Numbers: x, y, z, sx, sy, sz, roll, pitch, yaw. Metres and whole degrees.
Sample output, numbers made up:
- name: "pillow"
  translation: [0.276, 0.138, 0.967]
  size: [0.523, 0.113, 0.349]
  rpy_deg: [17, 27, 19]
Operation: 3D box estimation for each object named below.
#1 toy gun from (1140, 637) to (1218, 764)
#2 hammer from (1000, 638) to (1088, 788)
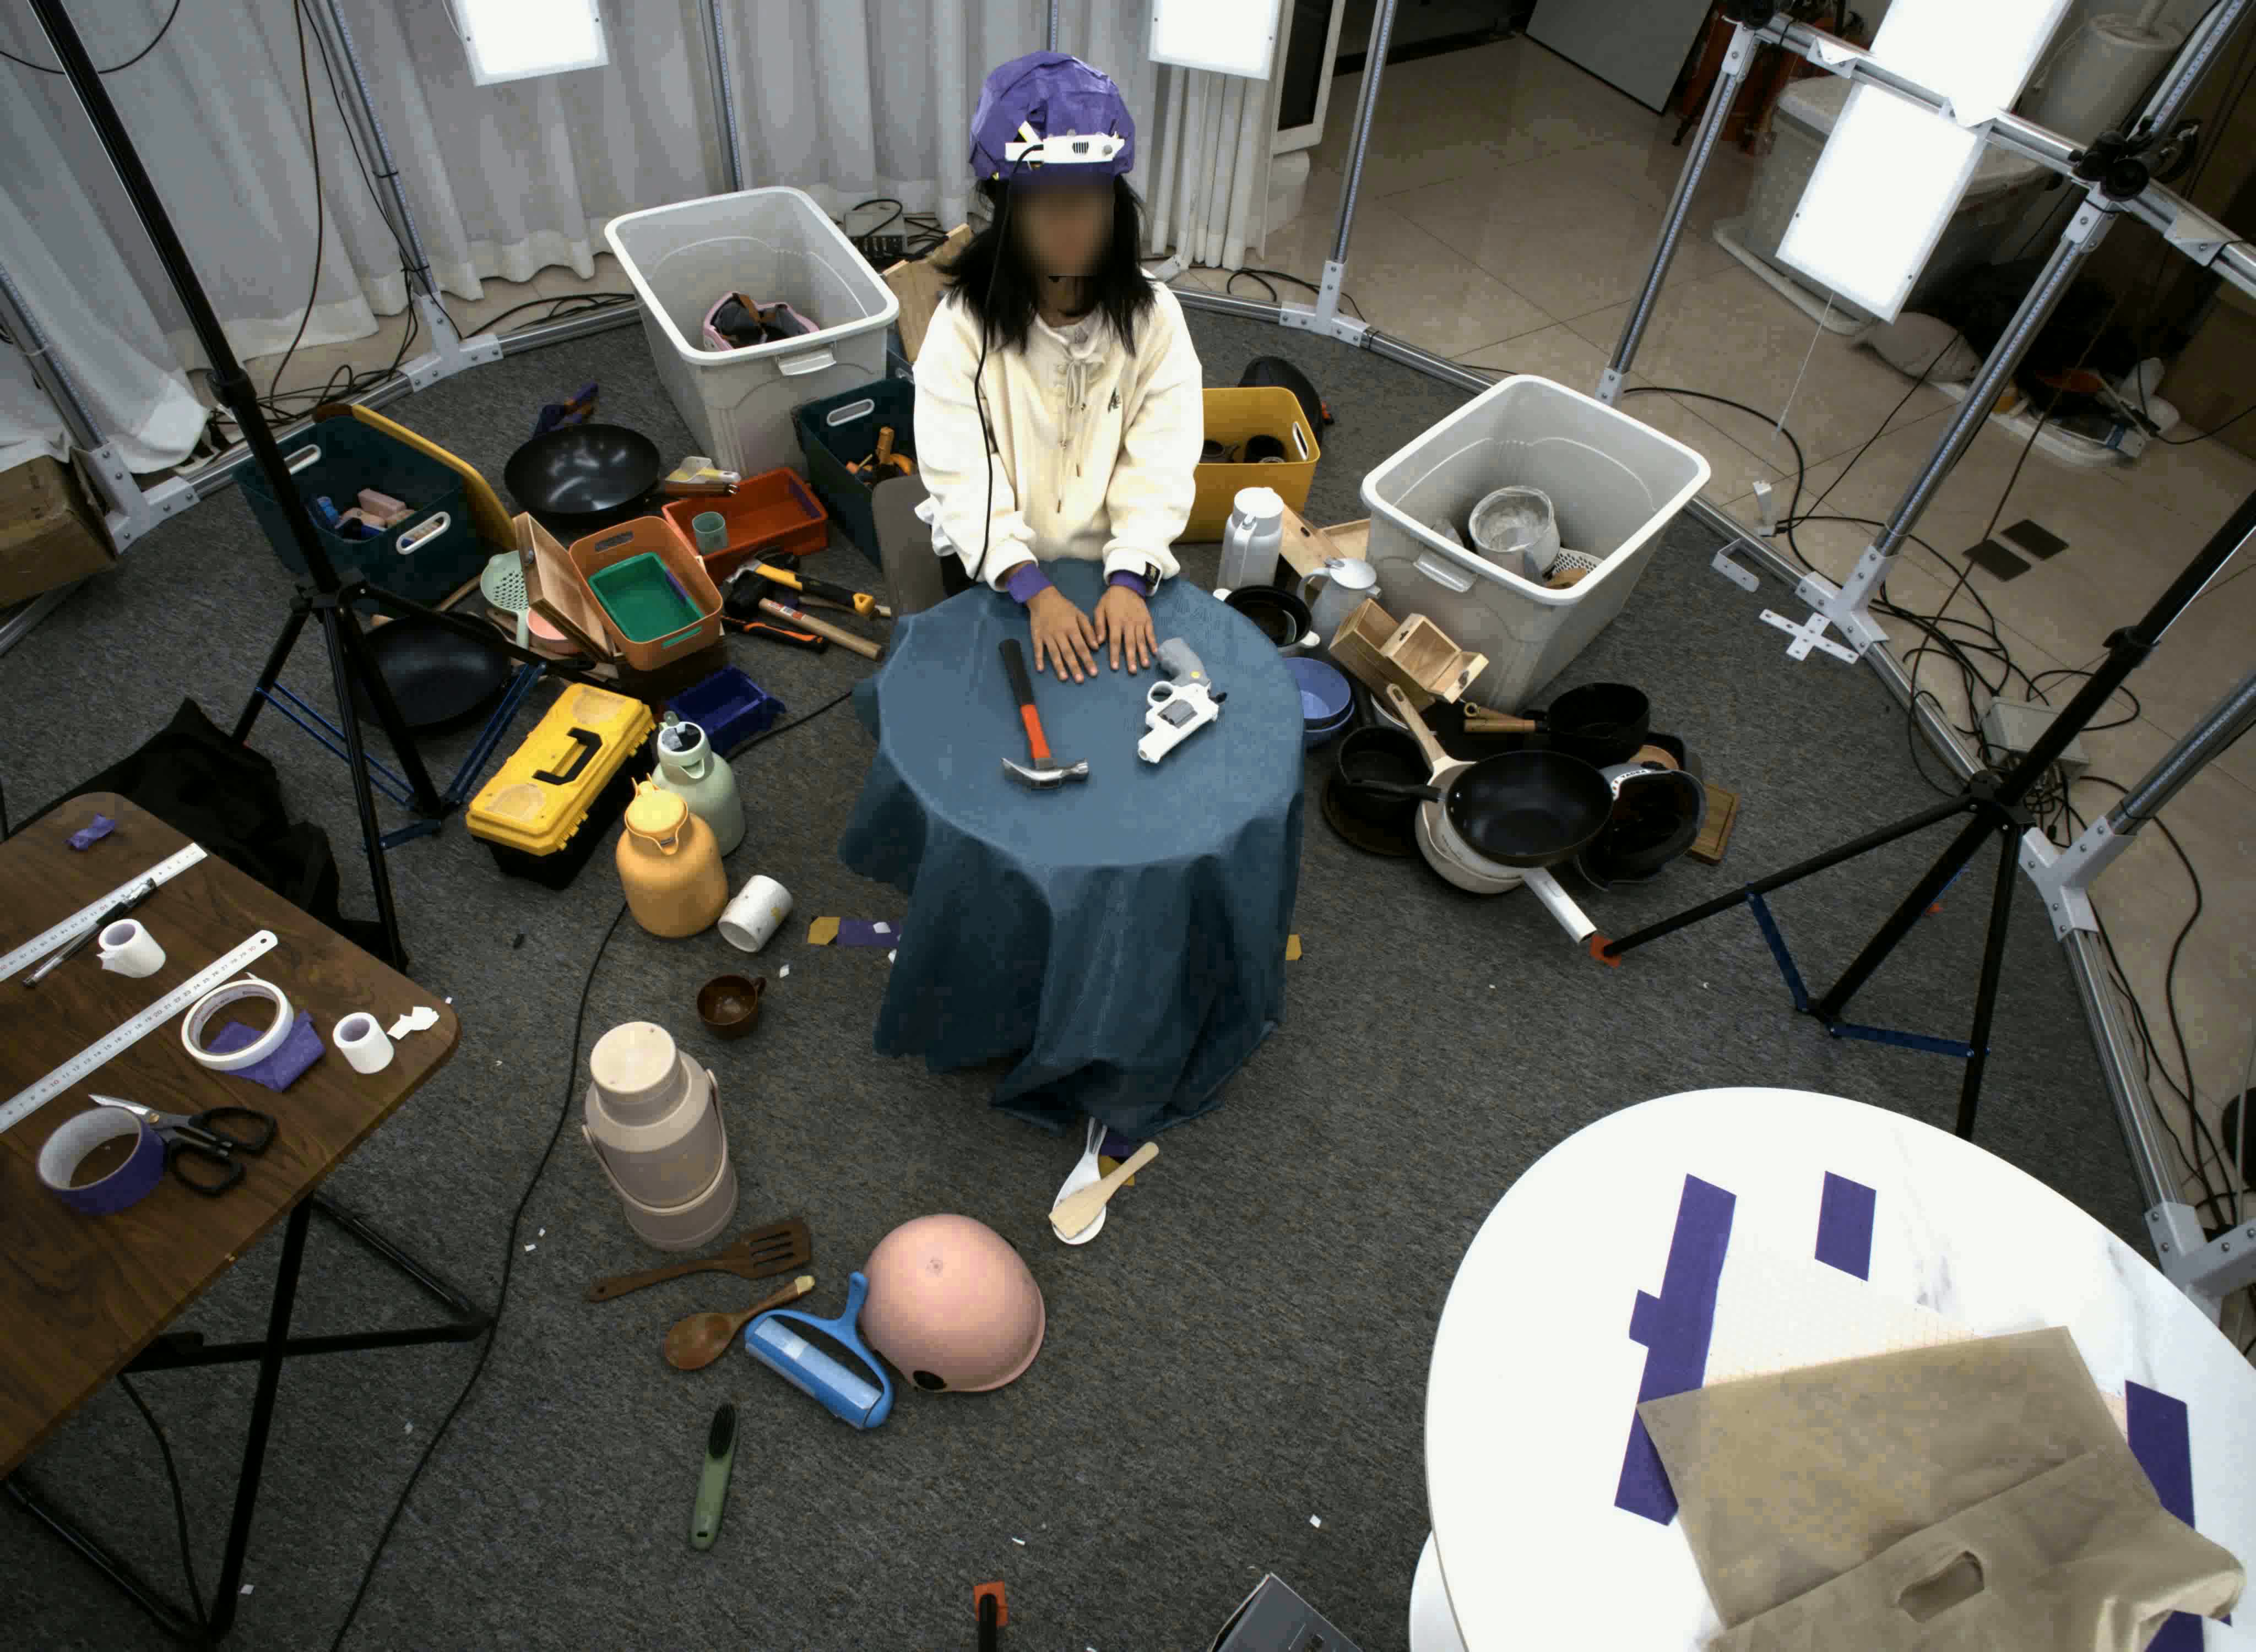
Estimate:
- name: "toy gun"
  translation: [0.054, -0.179, 1.804]
  size: [0.143, 0.038, 0.211]
  rpy_deg: [35, 56, 22]
- name: "hammer"
  translation: [-0.139, -0.162, 1.783]
  size: [0.111, 0.026, 0.284]
  rpy_deg: [-15, 51, -4]
